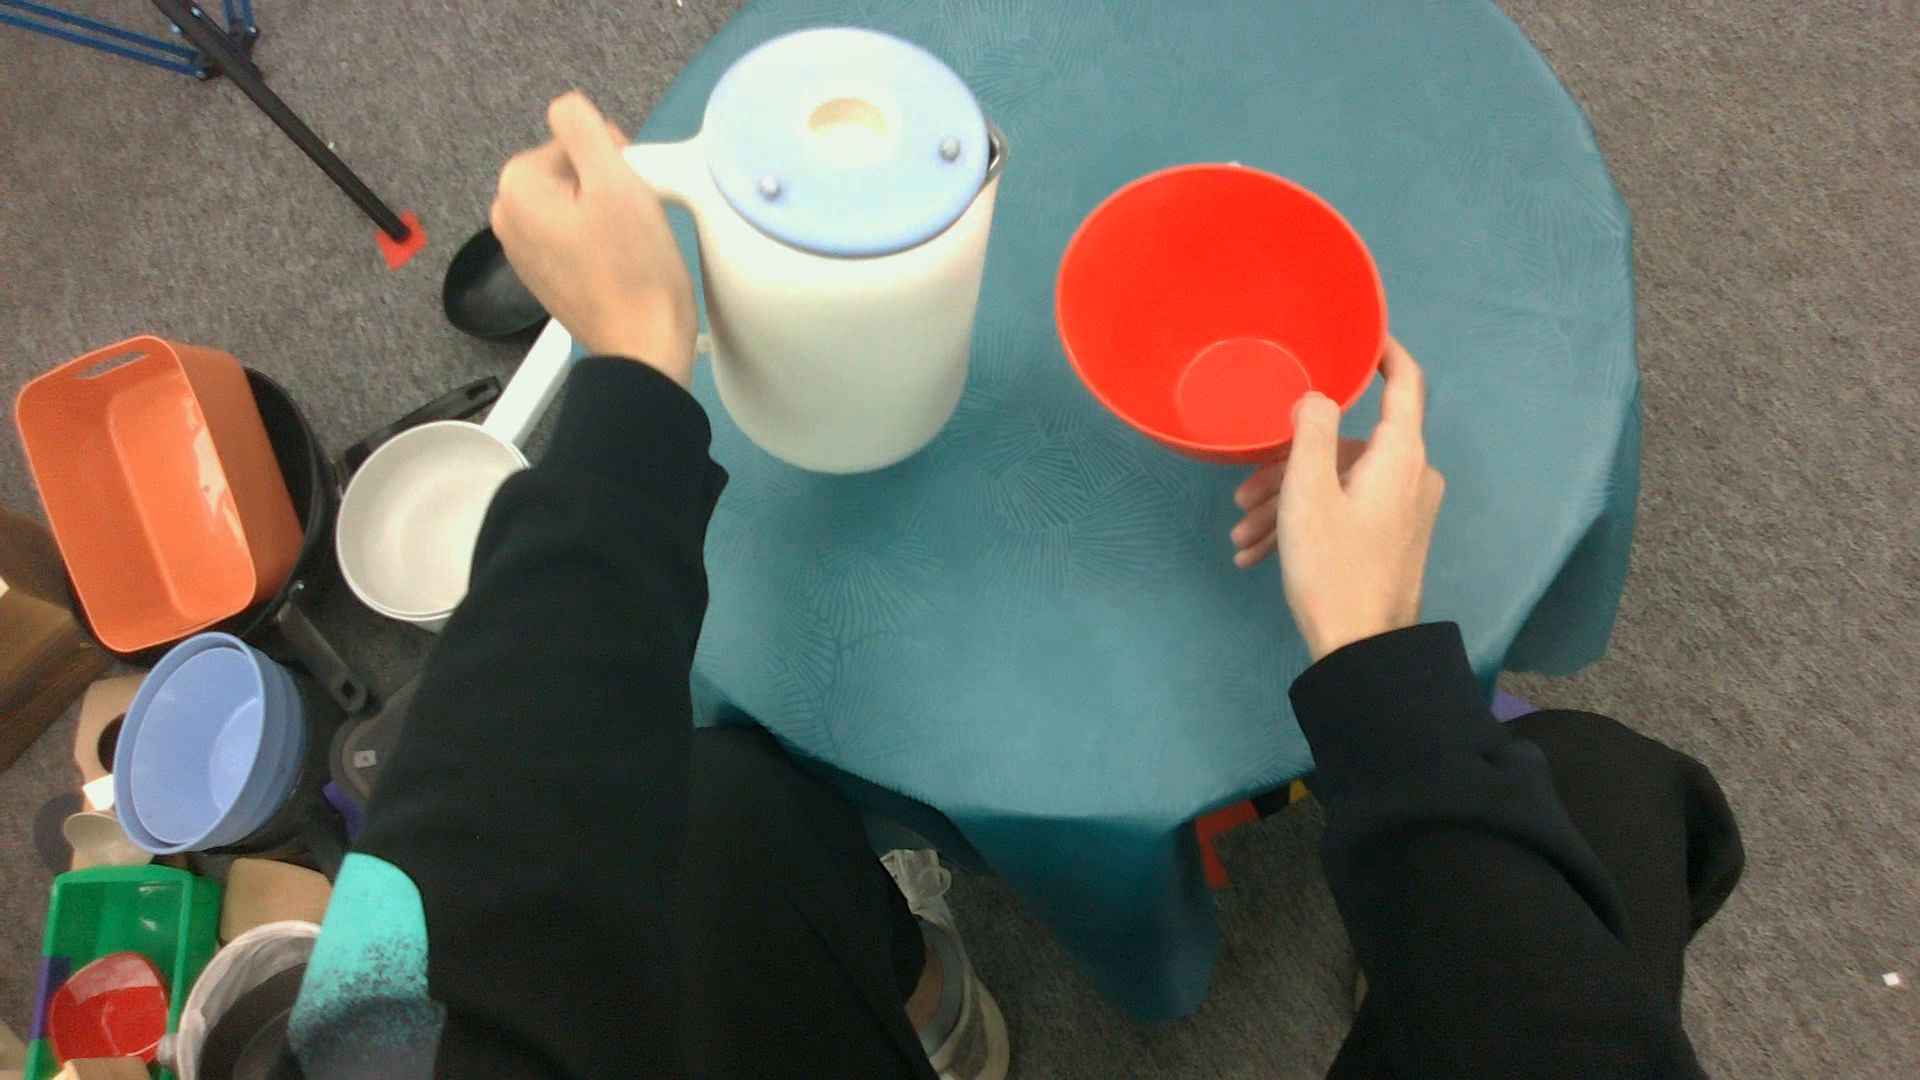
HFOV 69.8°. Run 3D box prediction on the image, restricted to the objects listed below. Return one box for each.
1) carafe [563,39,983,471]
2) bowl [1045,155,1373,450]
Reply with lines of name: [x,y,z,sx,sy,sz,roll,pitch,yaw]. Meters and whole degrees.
carafe: [-0.087,-0.126,0.647,0.191,0.182,0.132,-5,62,-4]
bowl: [0.121,-0.100,0.667,0.148,0.104,0.148,-4,66,9]
